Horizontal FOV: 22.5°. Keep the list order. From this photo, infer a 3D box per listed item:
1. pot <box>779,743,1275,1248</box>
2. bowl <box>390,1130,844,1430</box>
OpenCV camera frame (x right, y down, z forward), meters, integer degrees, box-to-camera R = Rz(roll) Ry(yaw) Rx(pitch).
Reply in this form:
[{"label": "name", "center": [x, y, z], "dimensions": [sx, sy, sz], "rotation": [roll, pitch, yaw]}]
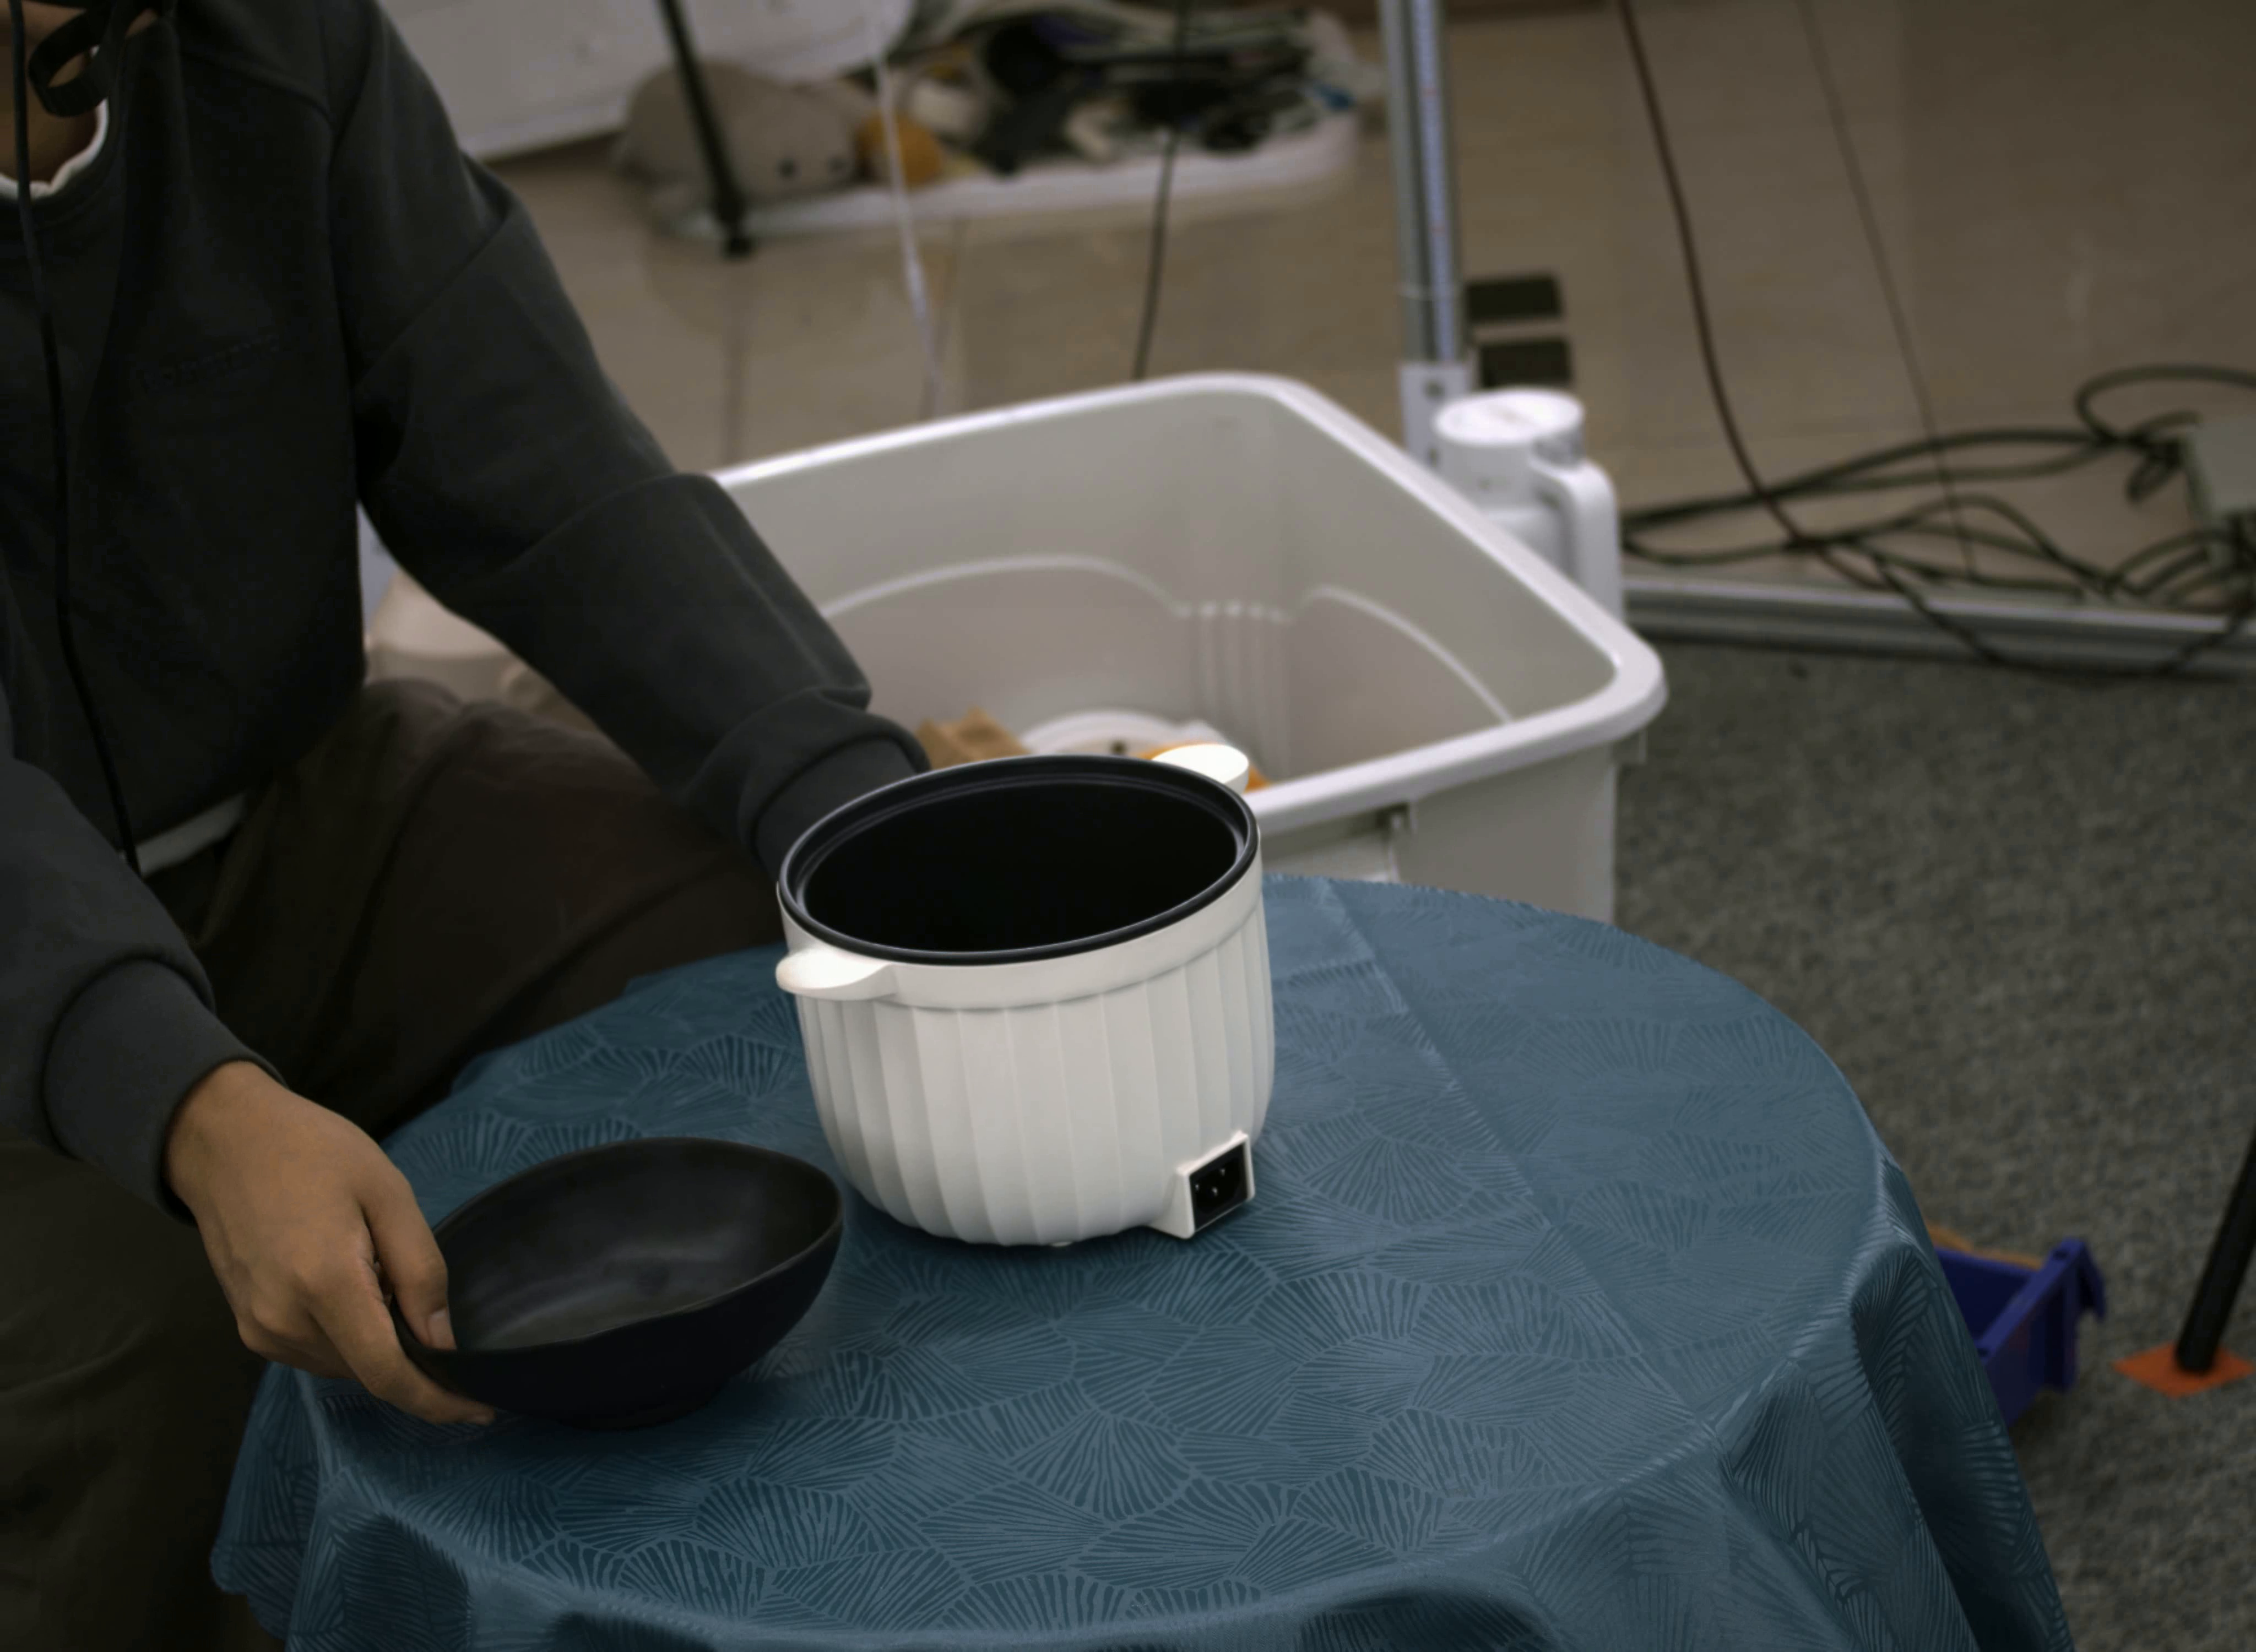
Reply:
[{"label": "pot", "center": [-0.039, 0.069, 2.142], "dimensions": [0.189, 0.145, 0.238], "rotation": [19, 34, 38]}, {"label": "bowl", "center": [-0.179, 0.173, 2.039], "dimensions": [0.169, 0.068, 0.136], "rotation": [-19, 28, -24]}]
